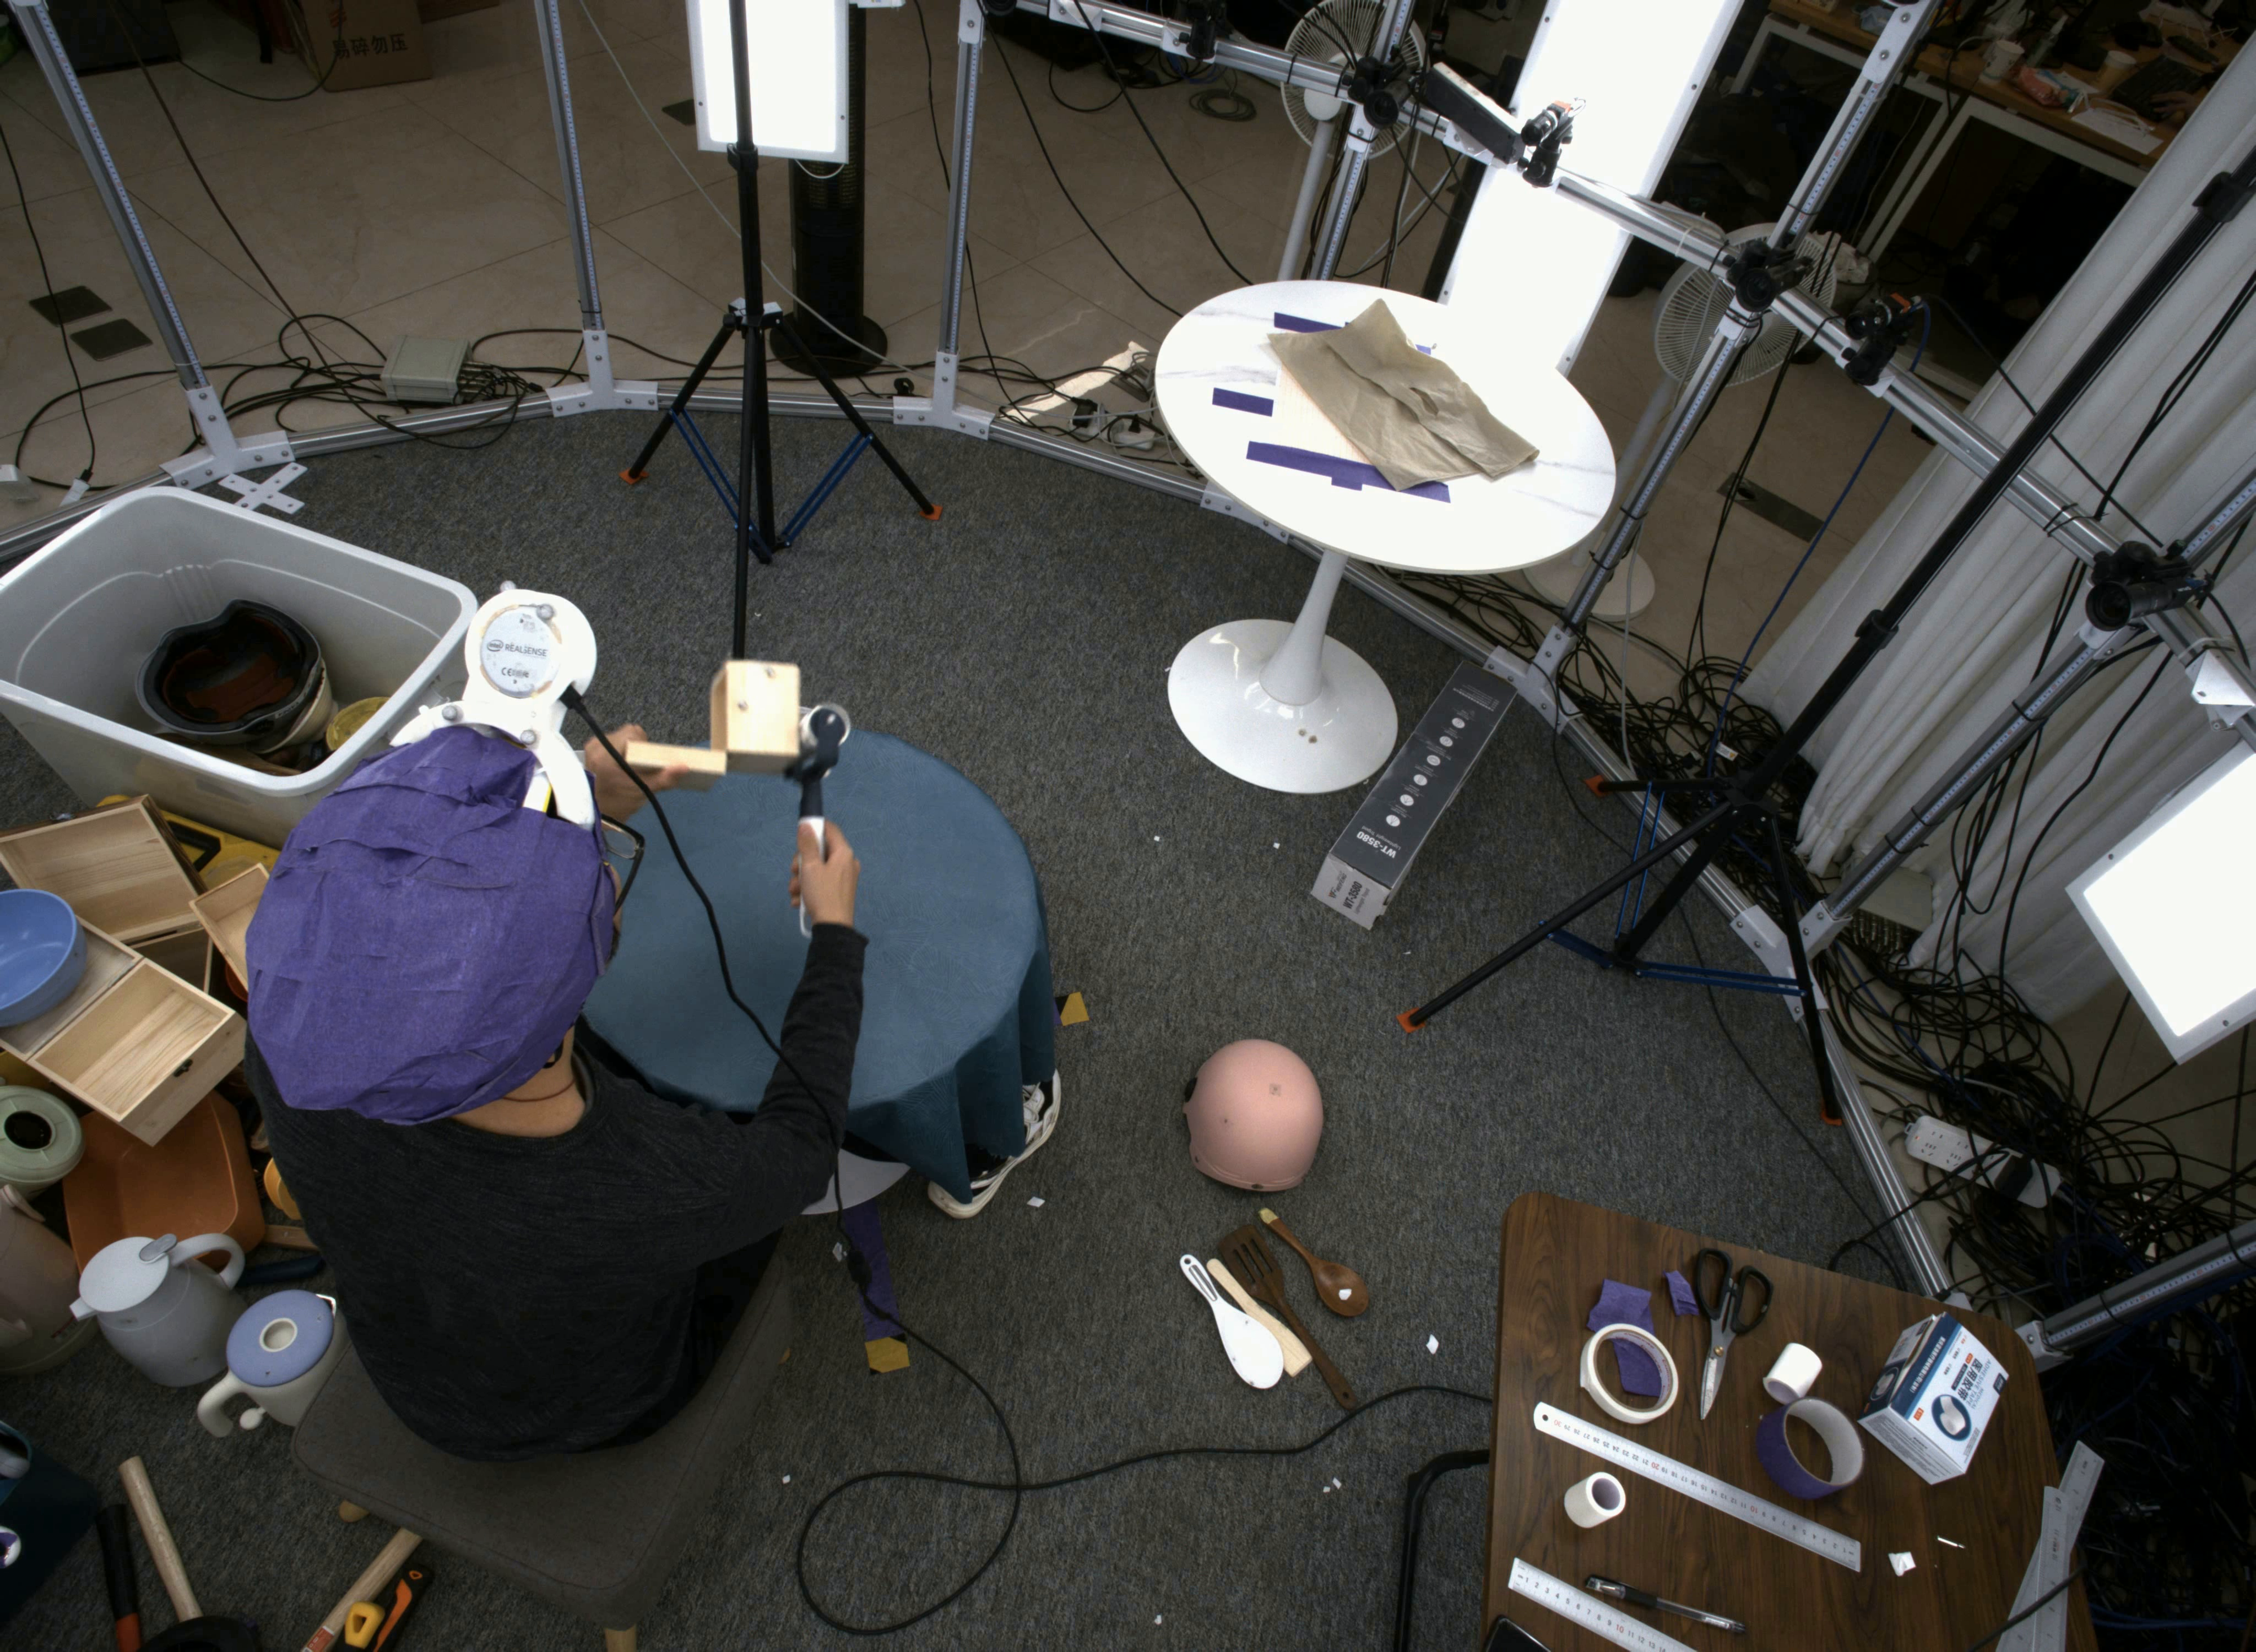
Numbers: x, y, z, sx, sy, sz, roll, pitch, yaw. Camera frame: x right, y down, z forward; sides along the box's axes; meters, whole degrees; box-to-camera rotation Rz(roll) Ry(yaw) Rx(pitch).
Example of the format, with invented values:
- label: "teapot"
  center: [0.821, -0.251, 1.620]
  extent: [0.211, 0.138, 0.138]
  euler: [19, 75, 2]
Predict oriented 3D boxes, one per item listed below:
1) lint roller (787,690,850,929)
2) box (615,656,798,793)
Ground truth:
- label: "lint roller"
  center: [-0.346, -0.013, 1.435]
  extent: [0.051, 0.172, 0.250]
  euler: [-3, 88, -27]
- label: "box"
  center: [-0.456, -0.112, 1.386]
  extent: [0.187, 0.101, 0.134]
  euler: [3, 79, -29]
